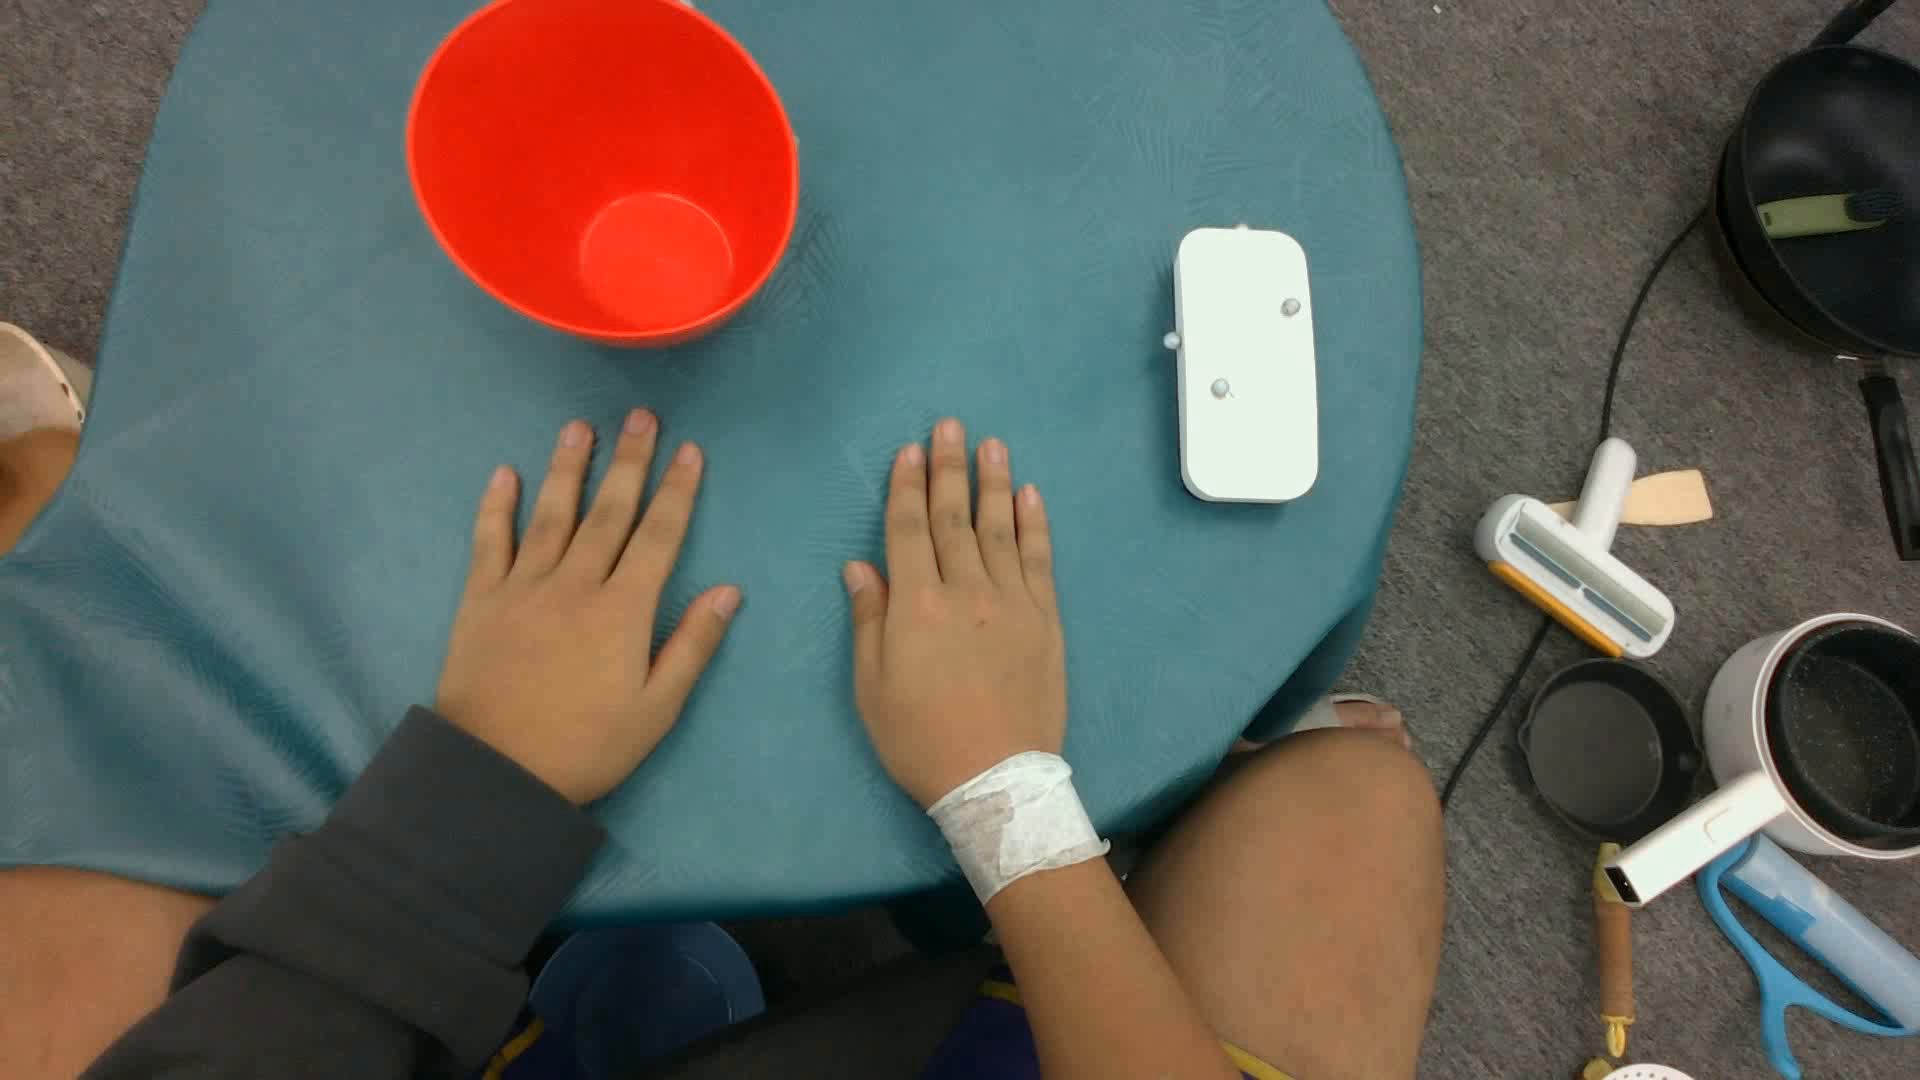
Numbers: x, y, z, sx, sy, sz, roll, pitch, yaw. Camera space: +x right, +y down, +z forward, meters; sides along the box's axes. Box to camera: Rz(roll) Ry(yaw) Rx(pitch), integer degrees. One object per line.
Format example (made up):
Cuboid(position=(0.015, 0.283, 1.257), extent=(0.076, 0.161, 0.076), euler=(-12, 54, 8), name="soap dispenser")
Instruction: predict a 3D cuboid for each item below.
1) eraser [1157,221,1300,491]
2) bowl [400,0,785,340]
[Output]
Cuboid(position=(0.123, -0.087, 0.645), extent=(0.063, 0.034, 0.131), euler=(3, 74, -6), name="eraser")
Cuboid(position=(-0.149, -0.146, 0.587), extent=(0.148, 0.104, 0.148), euler=(2, 76, -8), name="bowl")
